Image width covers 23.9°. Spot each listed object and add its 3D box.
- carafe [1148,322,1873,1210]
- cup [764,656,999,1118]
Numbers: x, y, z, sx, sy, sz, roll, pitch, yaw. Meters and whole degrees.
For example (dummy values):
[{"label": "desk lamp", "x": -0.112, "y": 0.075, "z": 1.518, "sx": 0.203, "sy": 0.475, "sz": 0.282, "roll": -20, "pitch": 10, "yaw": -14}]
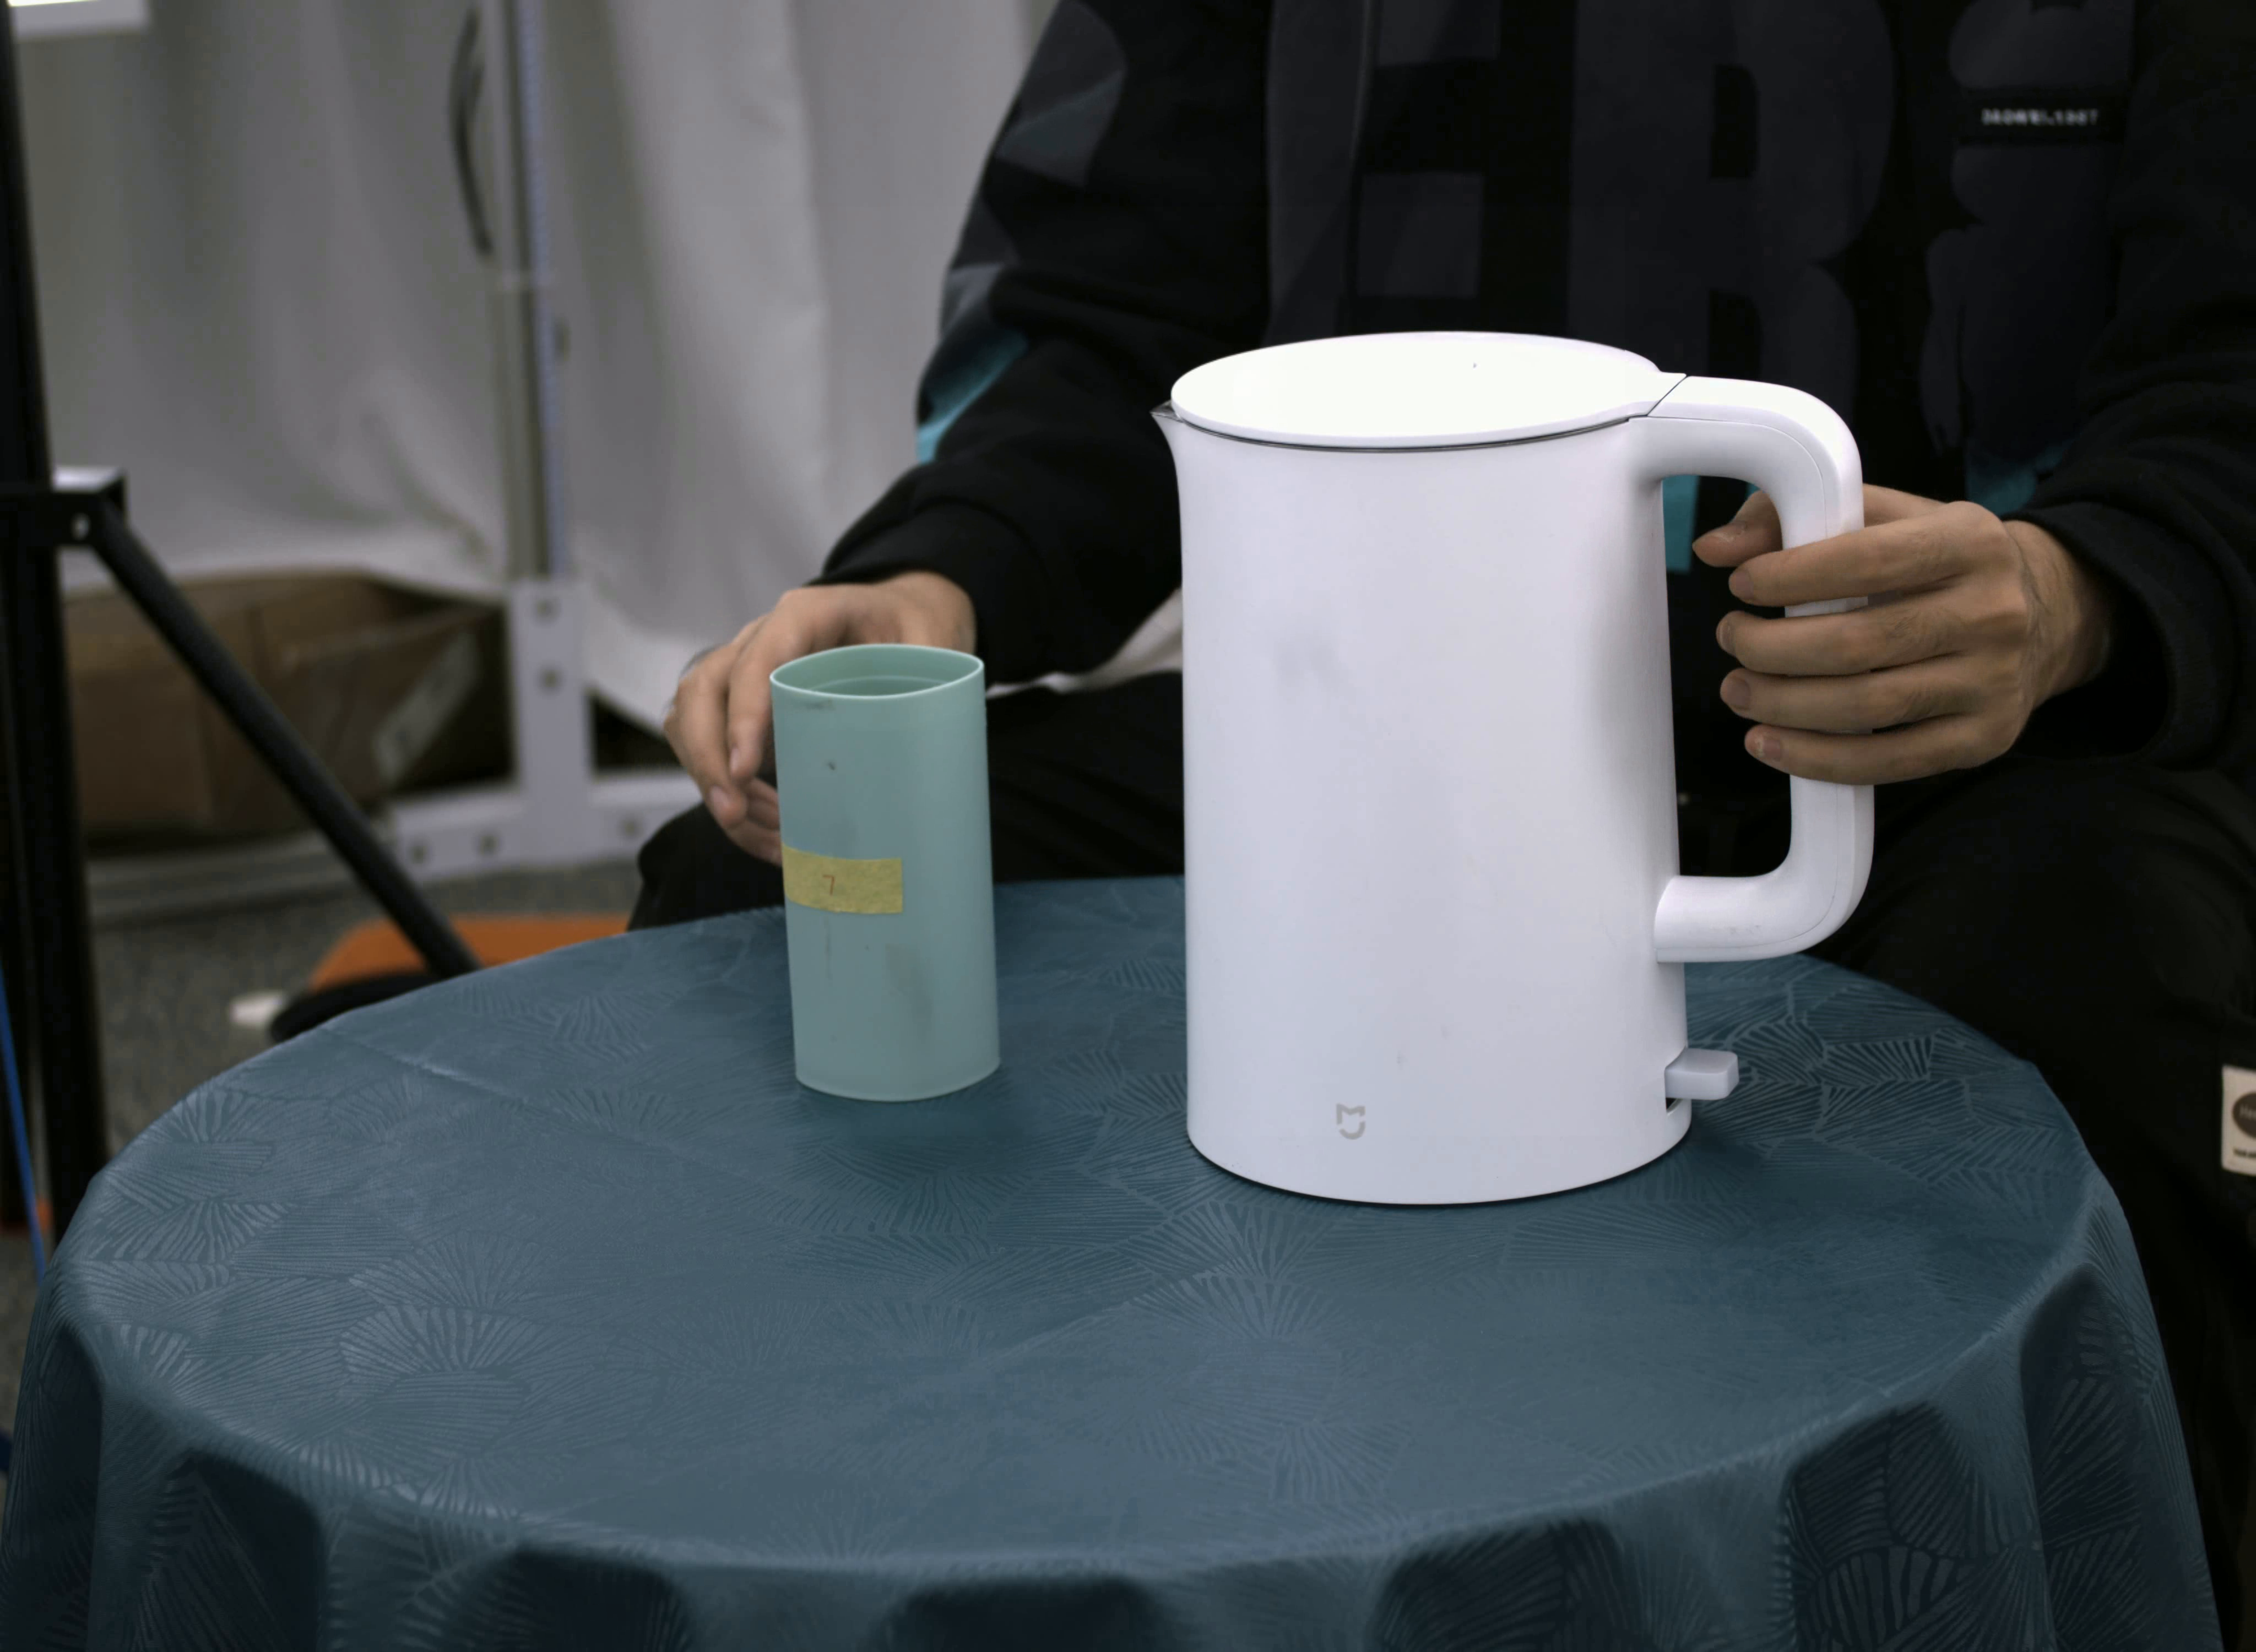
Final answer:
[{"label": "carafe", "x": 0.112, "y": -0.018, "z": 1.560, "sx": 0.216, "sy": 0.240, "sz": 0.150, "roll": 3, "pitch": 17, "yaw": 22}, {"label": "cup", "x": -0.075, "y": 0.018, "z": 1.662, "sx": 0.066, "sy": 0.132, "sz": 0.067, "roll": -4, "pitch": 15, "yaw": 0}]
